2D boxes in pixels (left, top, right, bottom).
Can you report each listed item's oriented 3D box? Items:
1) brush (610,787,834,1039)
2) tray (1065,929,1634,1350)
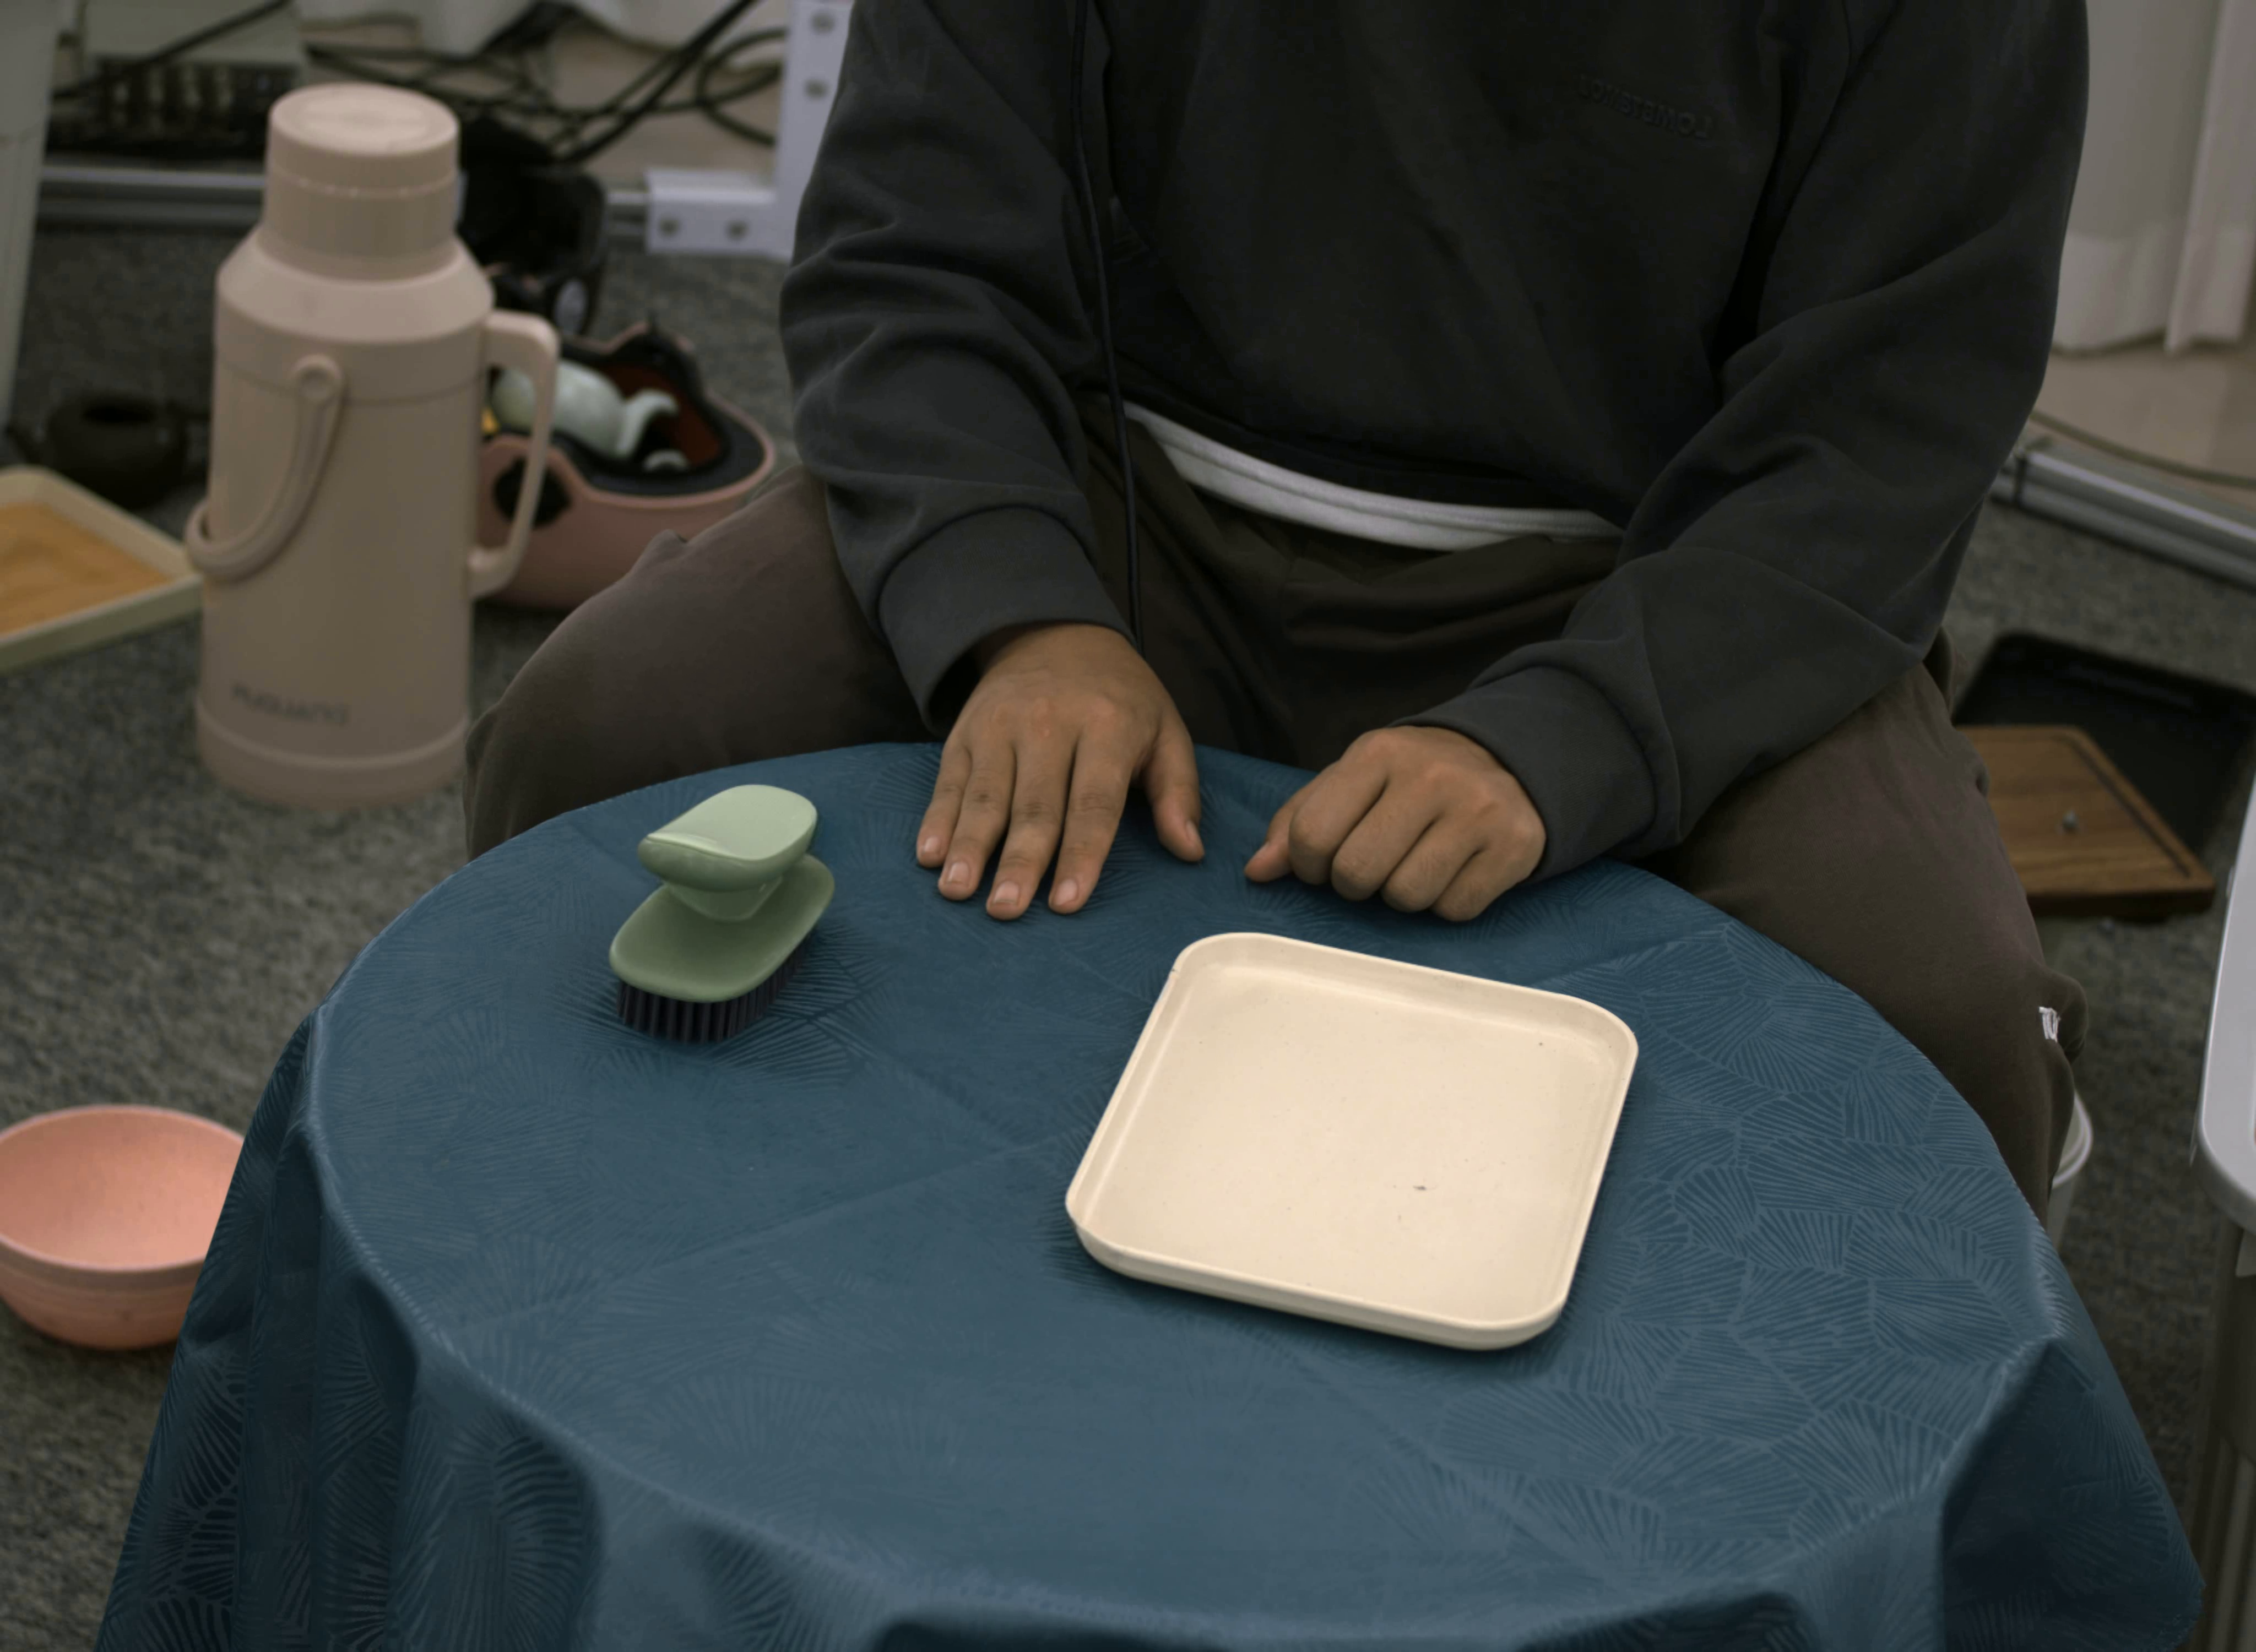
[{"bbox_3d":[-0.144,0.029,1.900,0.059,0.076,0.123,14,14,12],"label":"brush"},{"bbox_3d":[0.079,0.107,1.838,0.171,0.017,0.240,12,27,9],"label":"tray"}]
